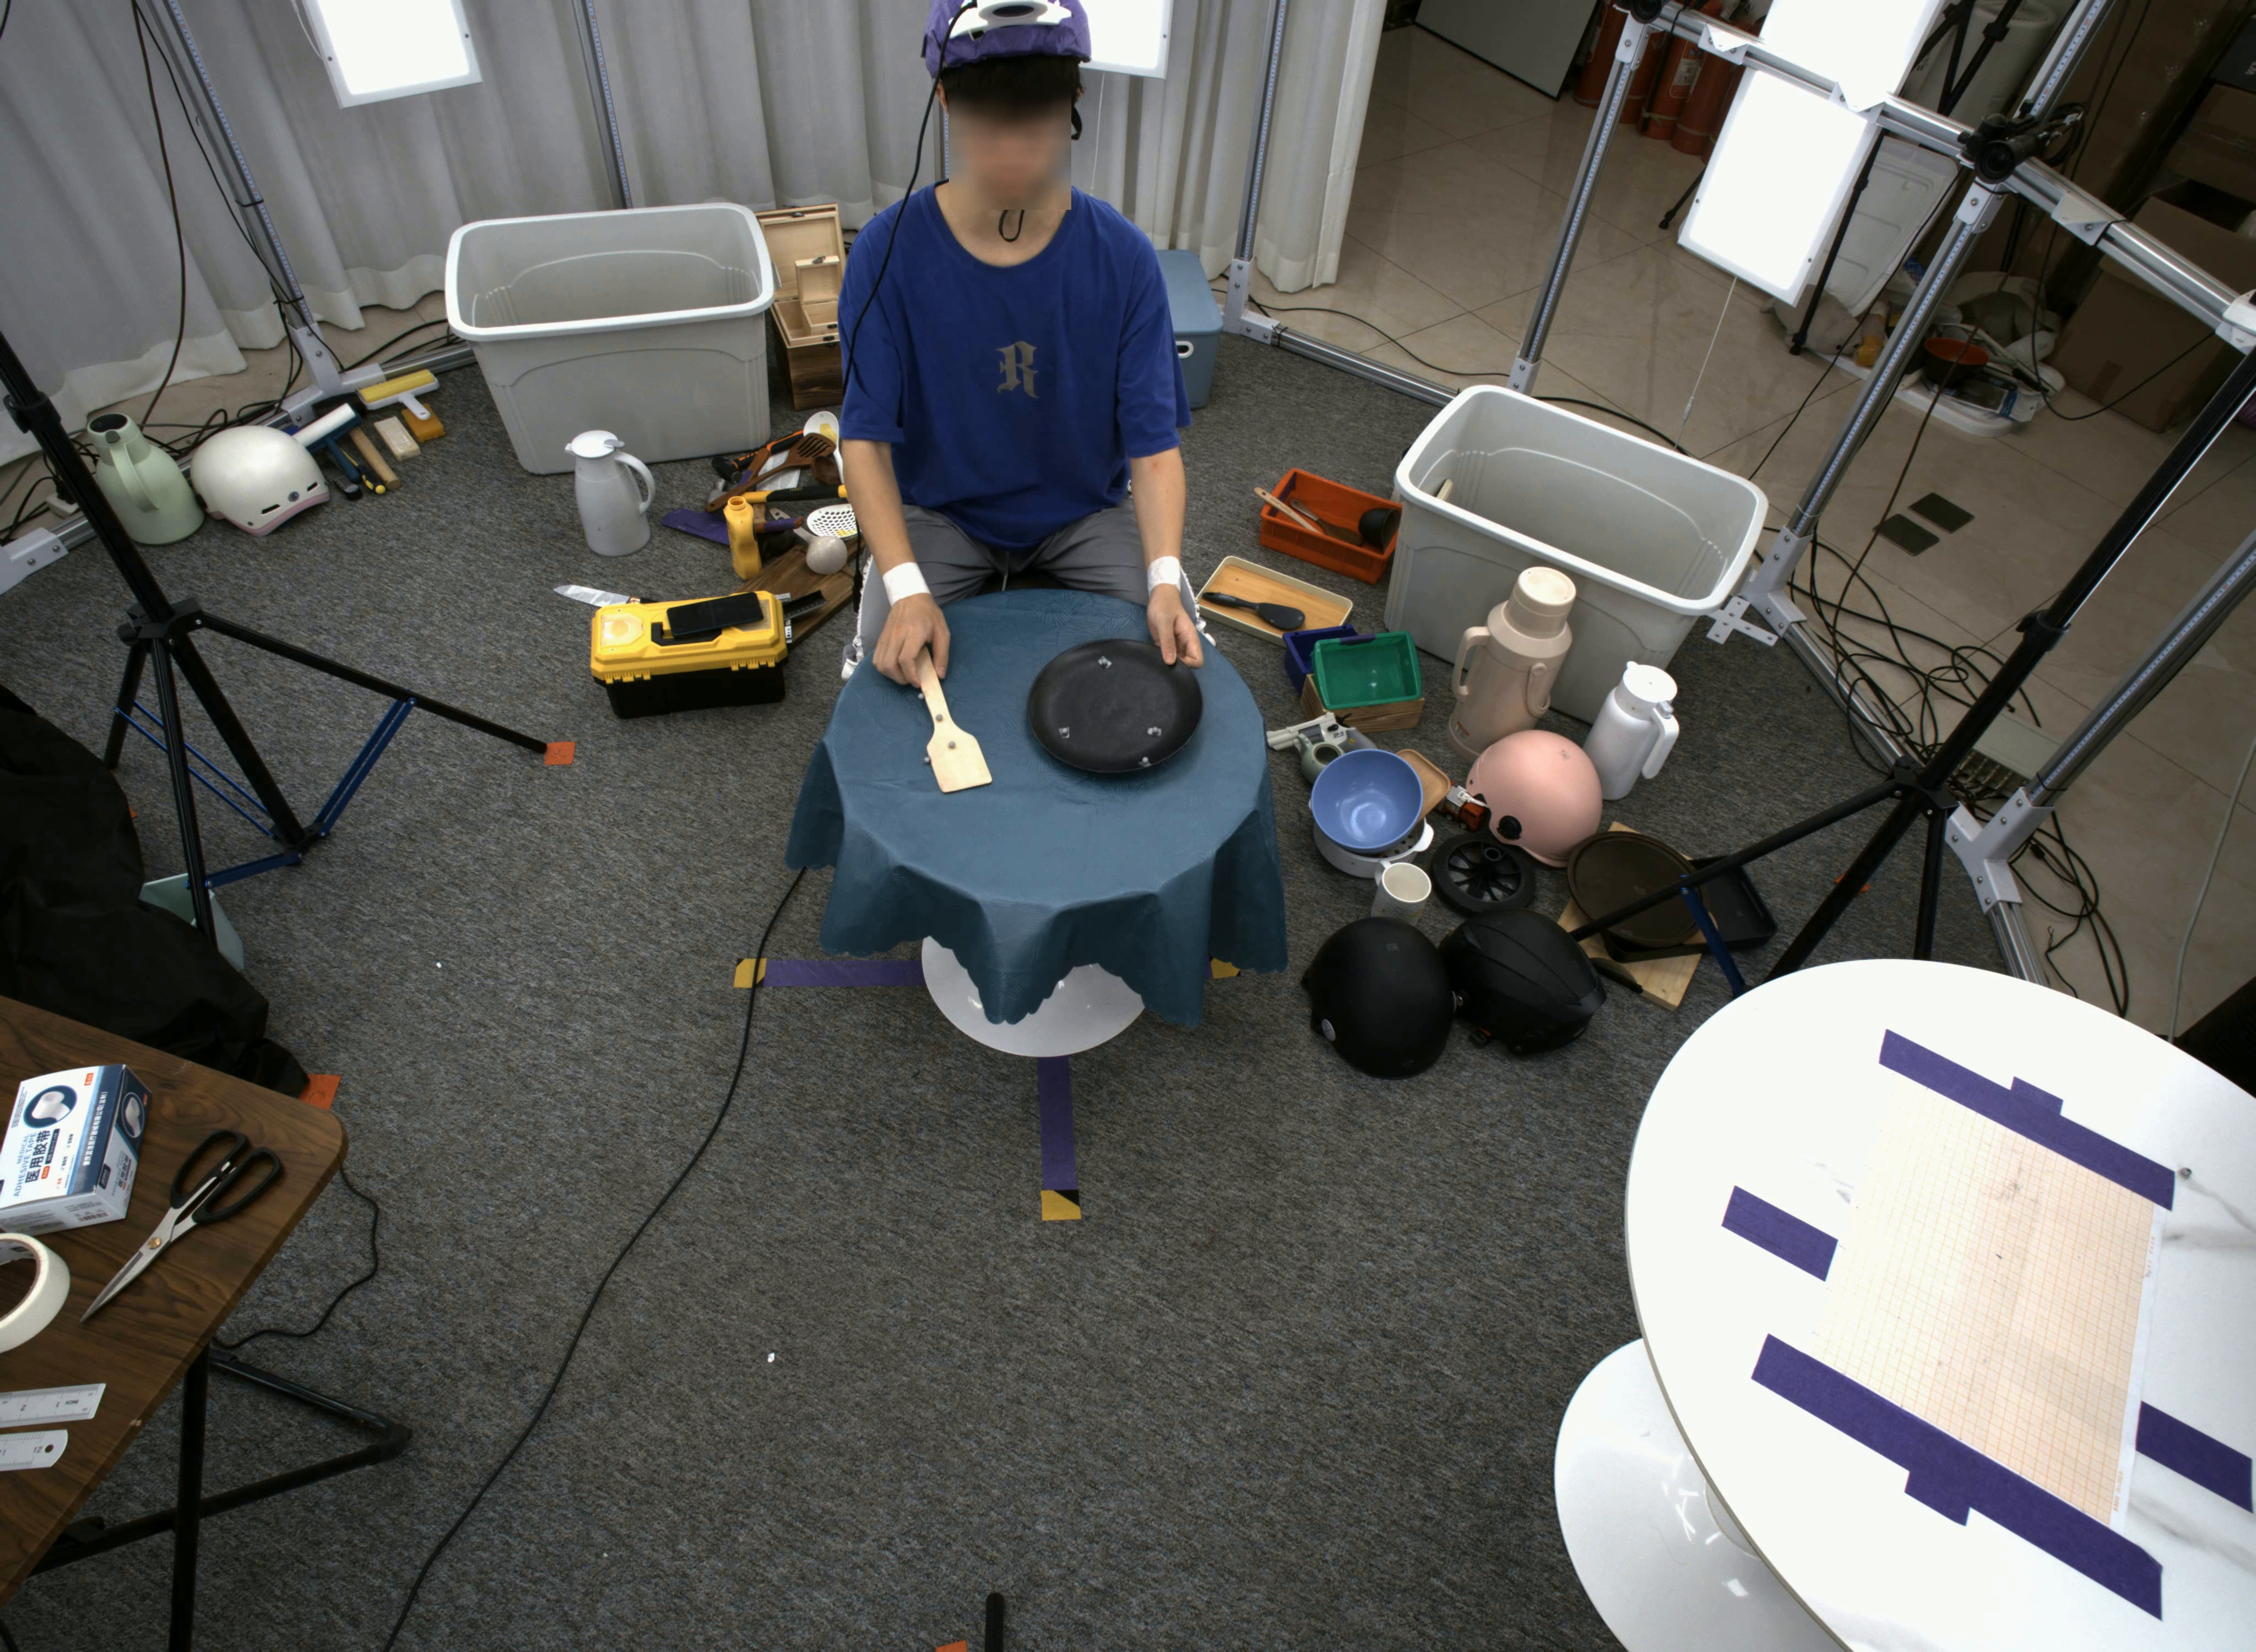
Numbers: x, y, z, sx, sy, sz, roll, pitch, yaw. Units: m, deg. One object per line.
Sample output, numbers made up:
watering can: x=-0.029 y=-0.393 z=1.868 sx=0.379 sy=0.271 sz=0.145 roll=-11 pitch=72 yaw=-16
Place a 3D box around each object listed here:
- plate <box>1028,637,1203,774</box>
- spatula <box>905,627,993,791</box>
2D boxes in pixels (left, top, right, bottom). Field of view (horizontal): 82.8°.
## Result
plate: x=-0.018 y=-0.167 z=1.786 sx=0.244 sy=0.023 sz=0.250 roll=-2 pitch=55 yaw=2
spatula: x=-0.262 y=-0.169 z=1.784 sx=0.072 sy=0.010 sz=0.299 roll=-14 pitch=57 yaw=-14
